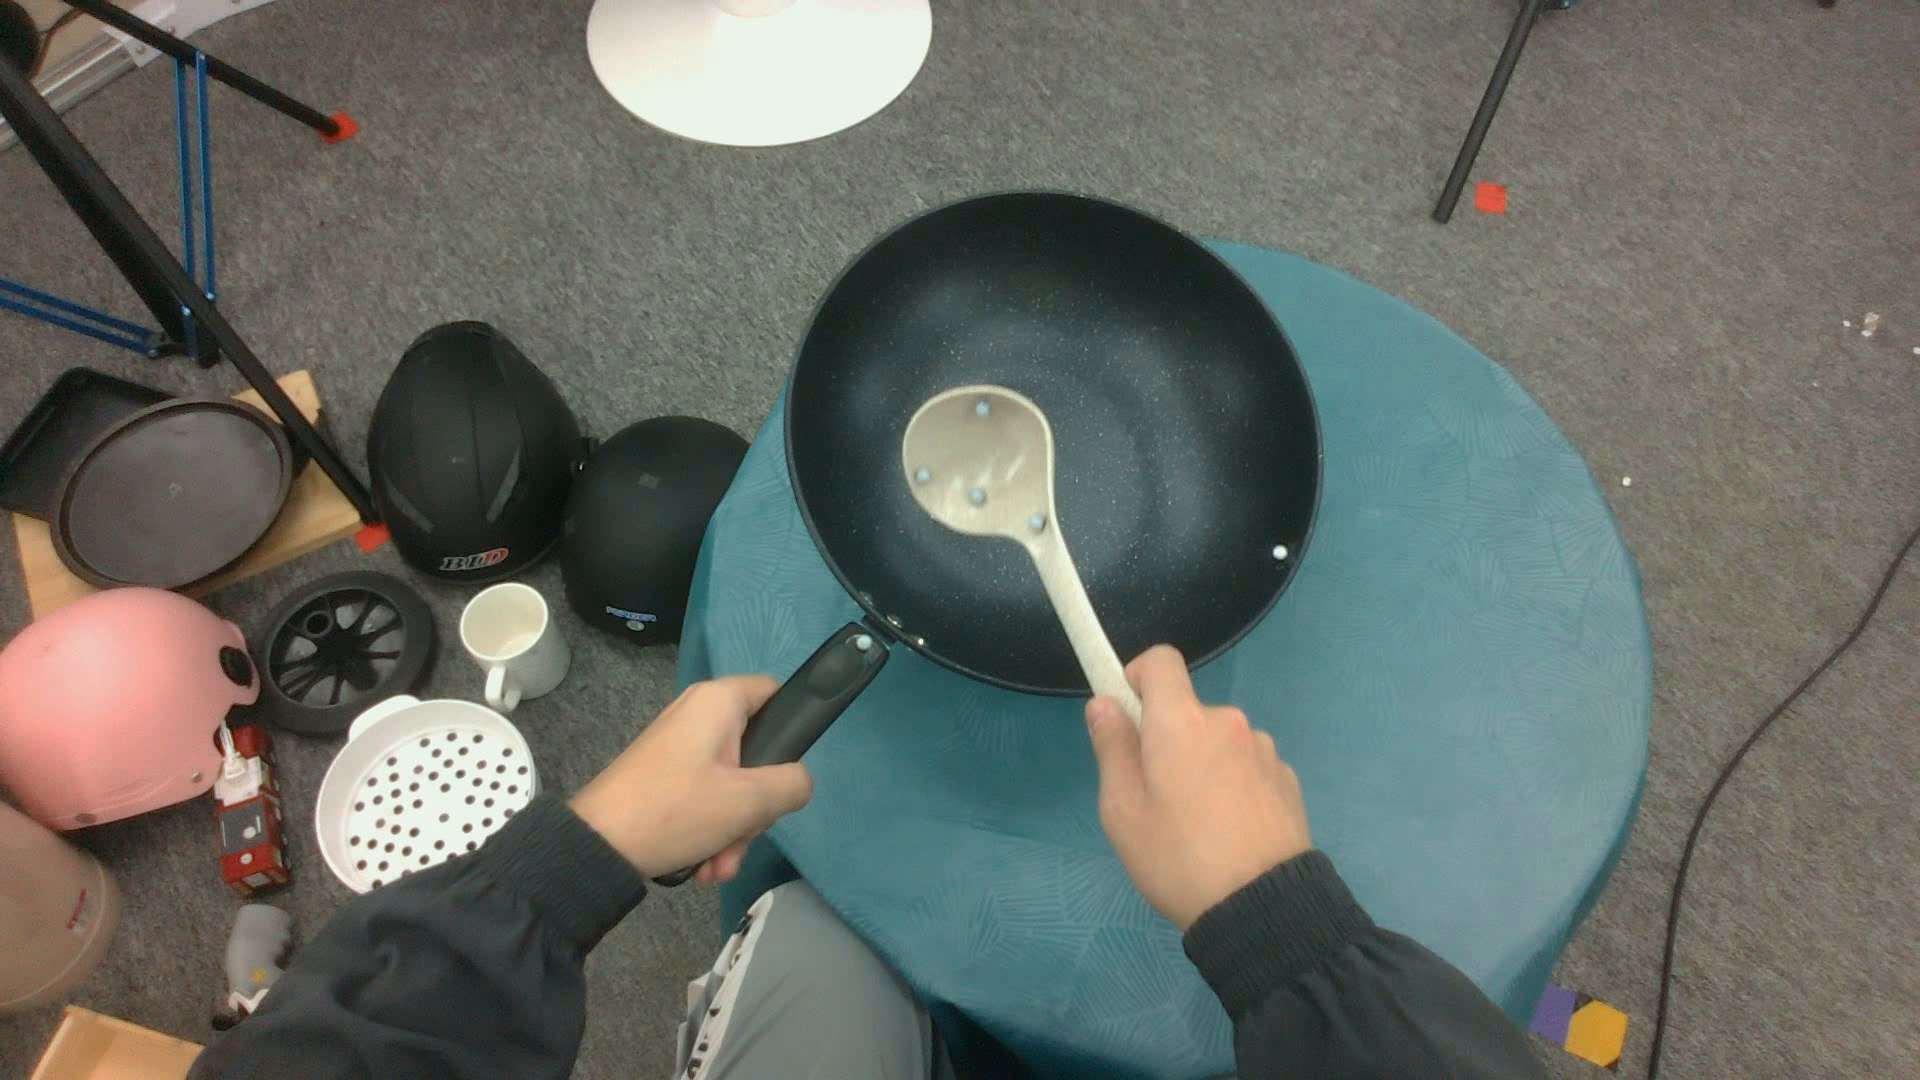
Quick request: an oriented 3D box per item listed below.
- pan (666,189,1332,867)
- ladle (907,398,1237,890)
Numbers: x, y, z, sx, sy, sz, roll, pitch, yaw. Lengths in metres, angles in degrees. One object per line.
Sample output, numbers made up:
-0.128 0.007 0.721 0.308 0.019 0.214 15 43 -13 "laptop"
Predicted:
0.008 0.000 0.784 0.310 0.111 0.478 38 69 8 "pan"
0.050 0.048 0.678 0.069 0.089 0.275 3 52 -39 "ladle"
